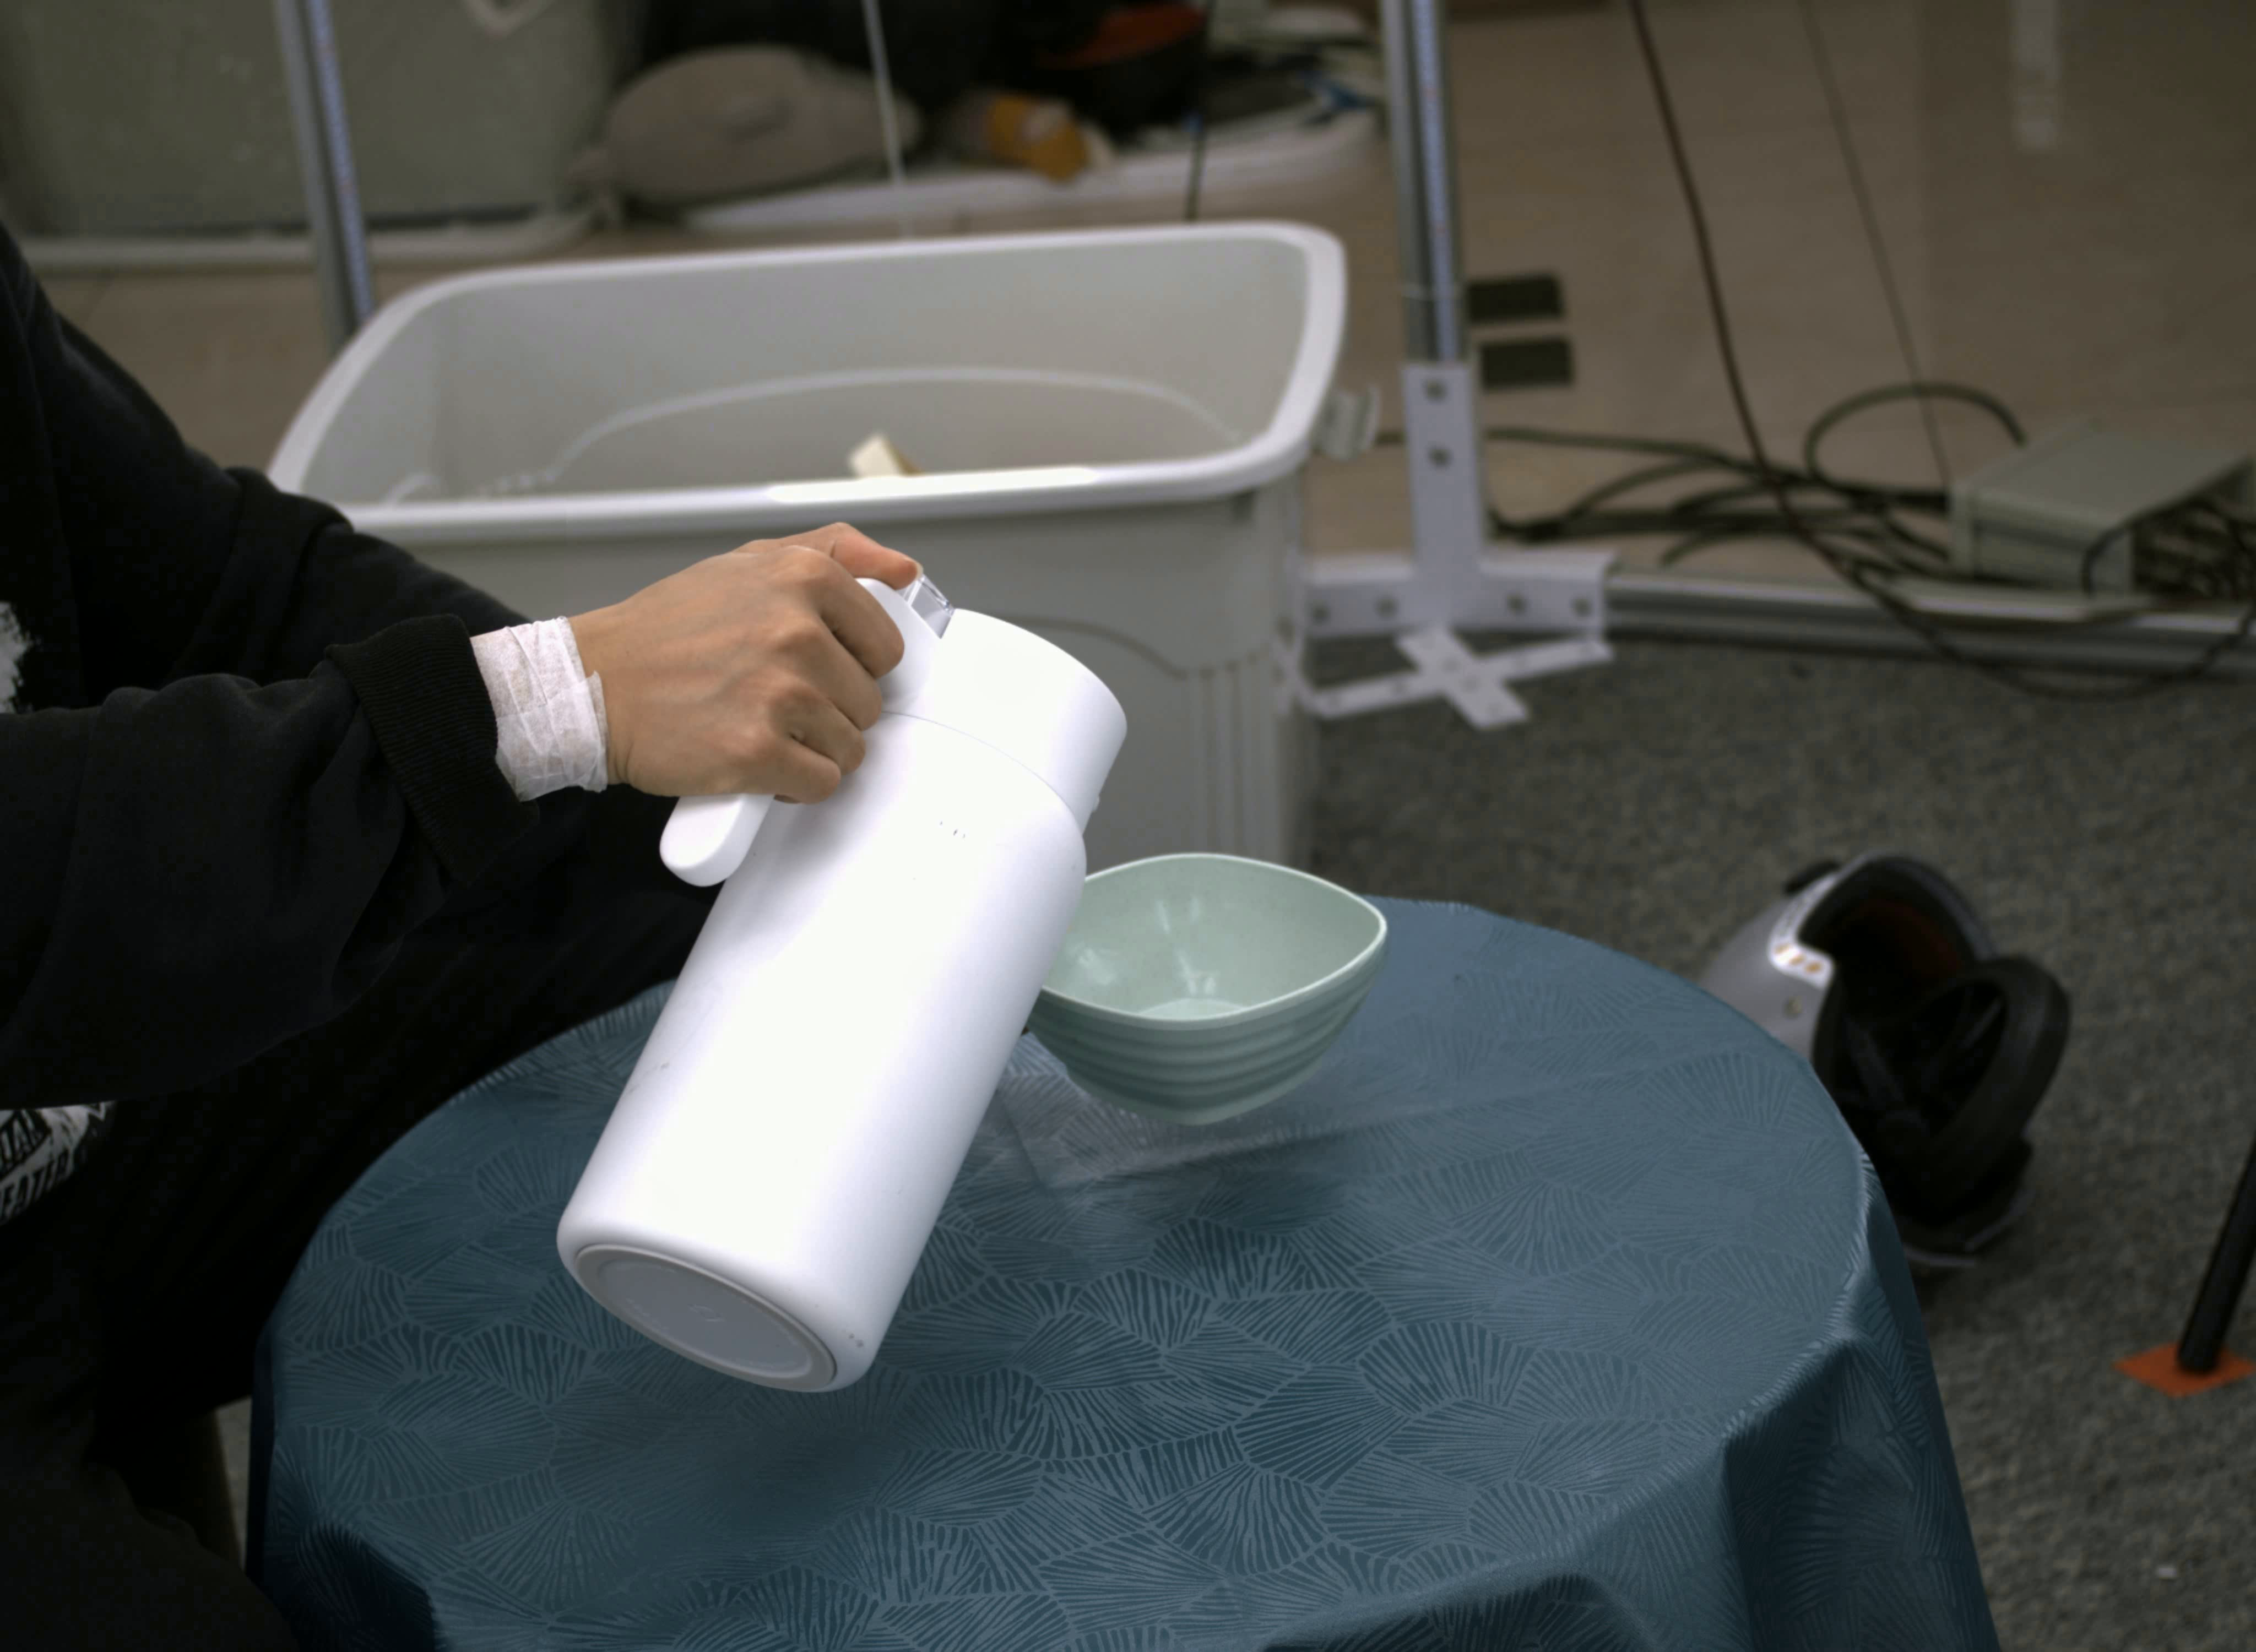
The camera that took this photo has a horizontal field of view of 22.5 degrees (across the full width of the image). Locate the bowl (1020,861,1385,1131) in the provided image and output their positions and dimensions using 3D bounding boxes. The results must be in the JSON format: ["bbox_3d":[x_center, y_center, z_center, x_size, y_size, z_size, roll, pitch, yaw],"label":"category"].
[{"bbox_3d":[0.023,0.069,2.151,0.151,0.059,0.149,-2,23,1],"label":"bowl"}]

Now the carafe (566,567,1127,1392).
[{"bbox_3d":[-0.101,0.048,1.972,0.123,0.175,0.266,8,63,38],"label":"carafe"}]
